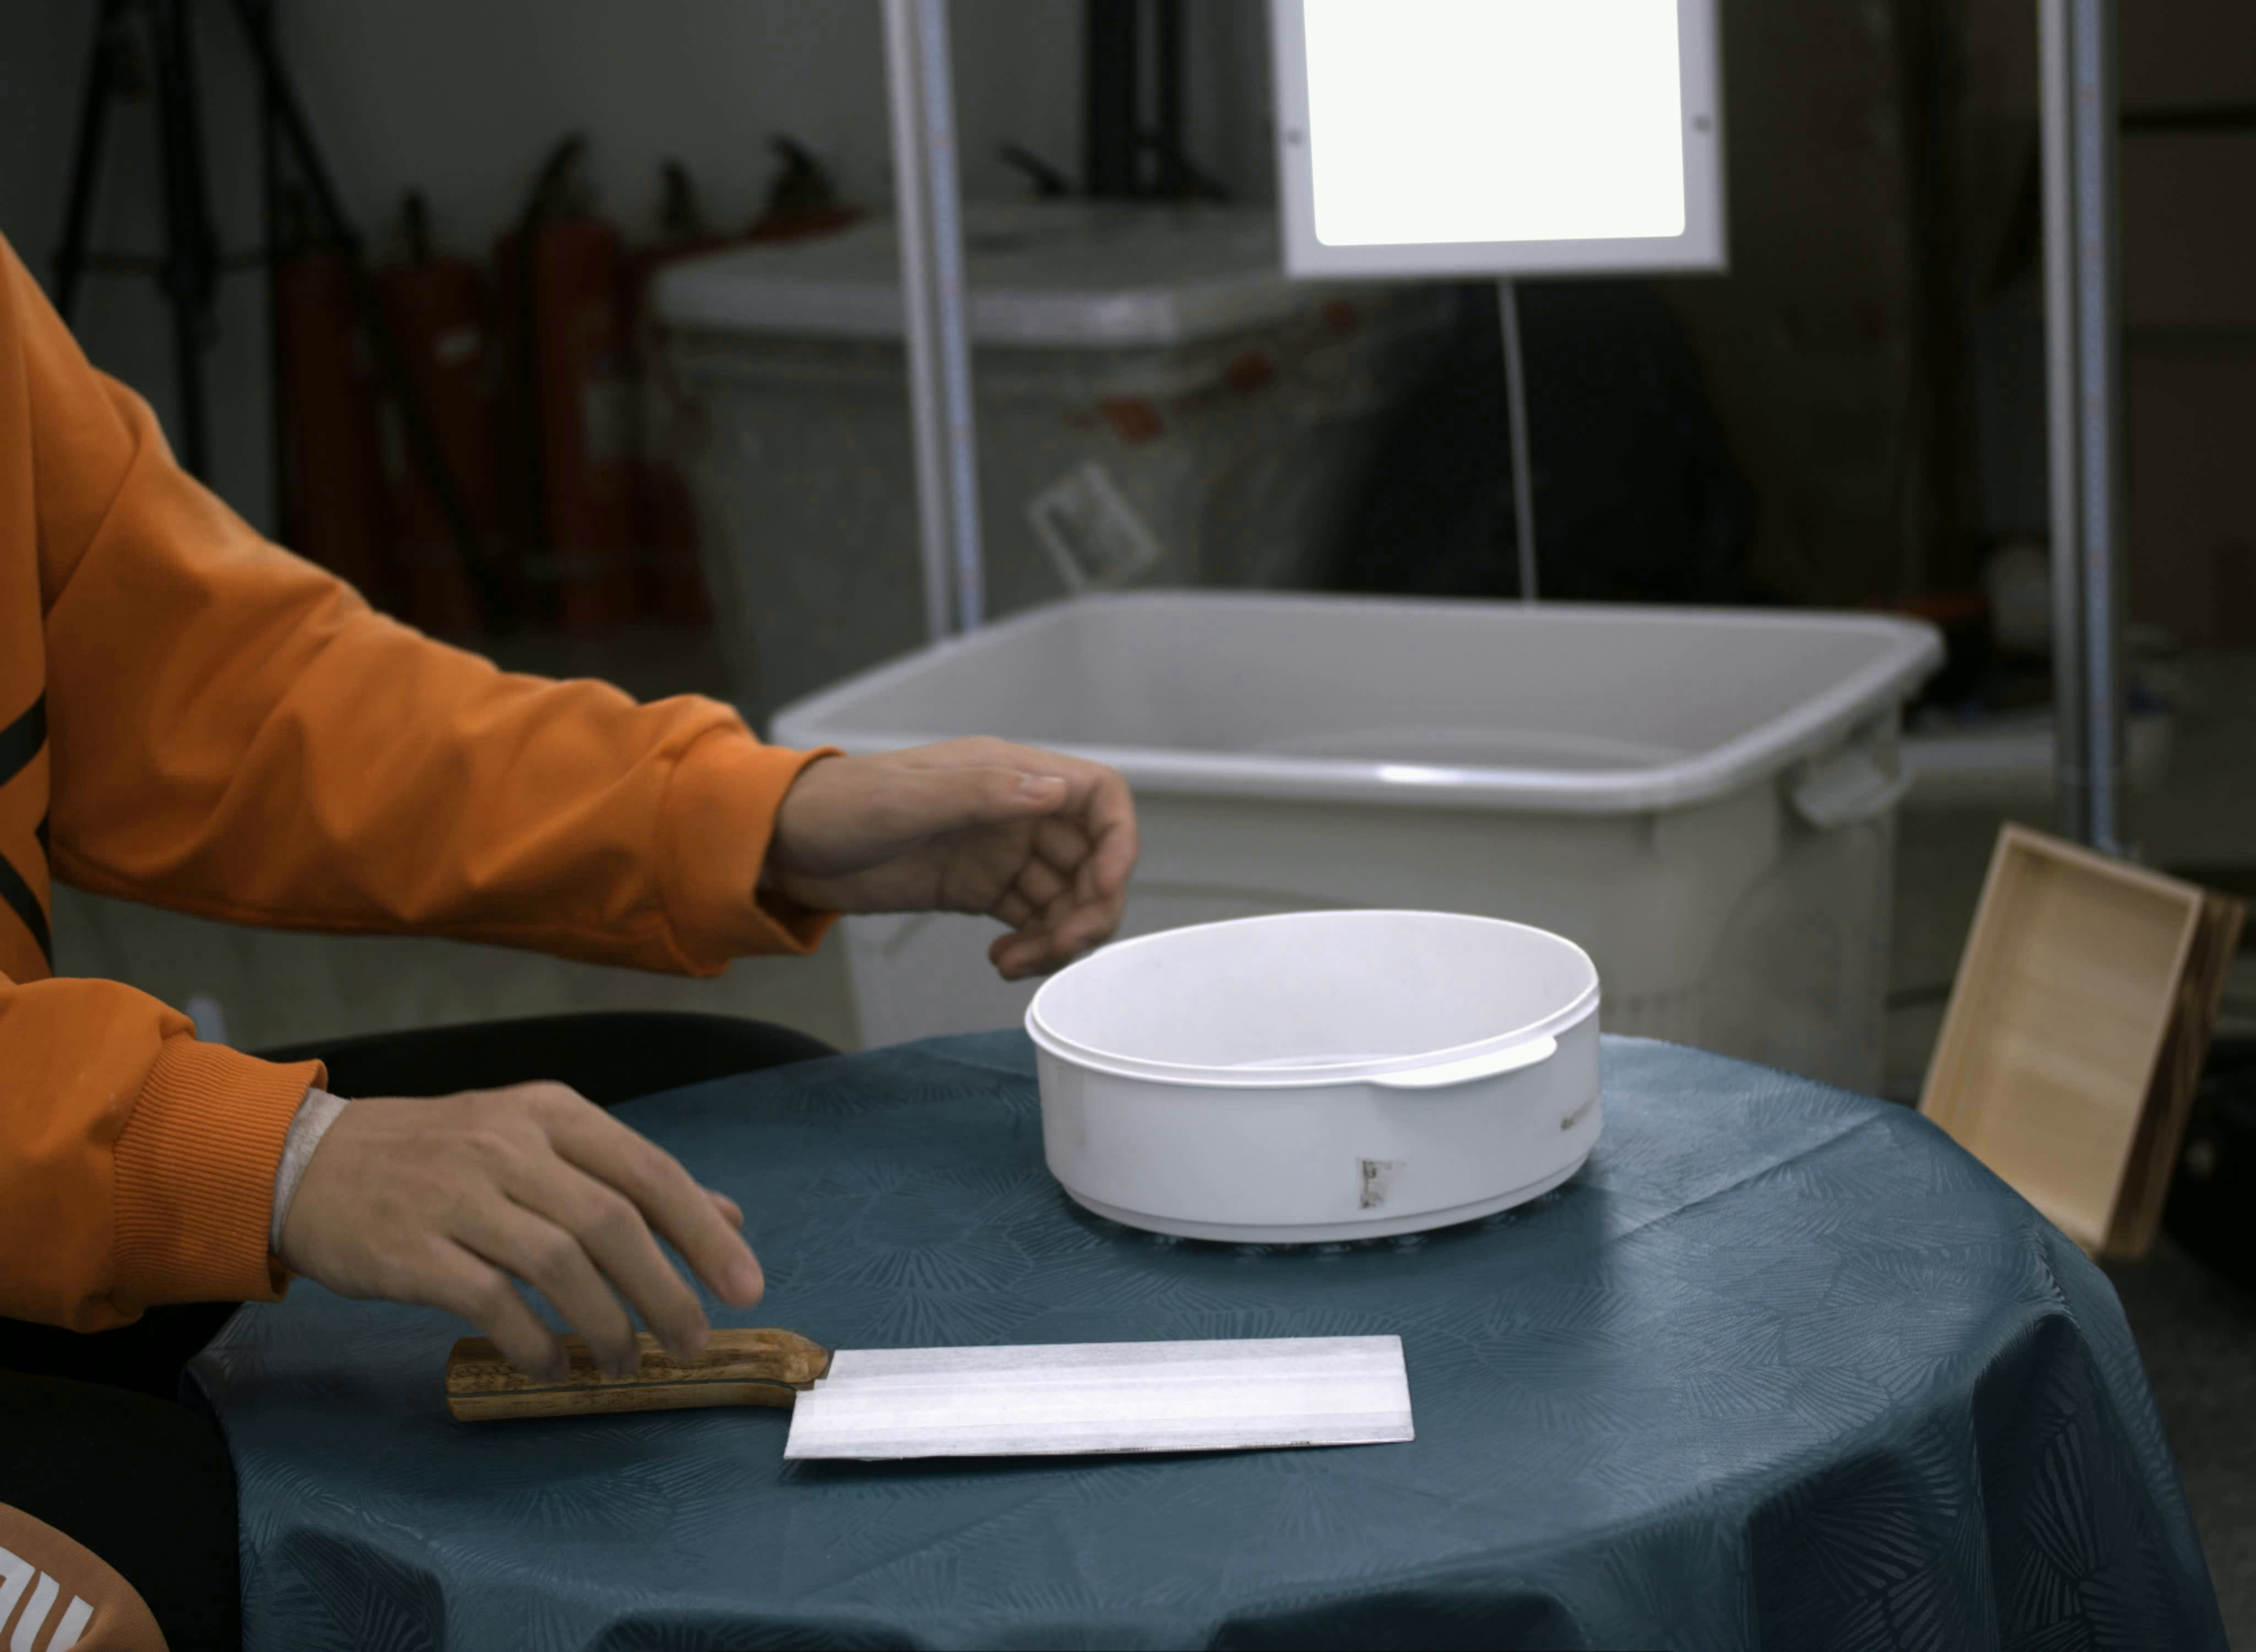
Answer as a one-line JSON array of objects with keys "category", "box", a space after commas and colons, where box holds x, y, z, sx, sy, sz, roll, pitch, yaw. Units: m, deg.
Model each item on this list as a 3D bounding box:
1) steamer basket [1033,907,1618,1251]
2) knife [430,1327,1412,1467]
[{"category": "steamer basket", "box": [0.070, 0.087, 1.889, 0.197, 0.069, 0.234, -13, 17, -25]}, {"category": "knife", "box": [-0.066, 0.176, 1.689, 0.305, 0.021, 0.092, -2, 15, 3]}]
